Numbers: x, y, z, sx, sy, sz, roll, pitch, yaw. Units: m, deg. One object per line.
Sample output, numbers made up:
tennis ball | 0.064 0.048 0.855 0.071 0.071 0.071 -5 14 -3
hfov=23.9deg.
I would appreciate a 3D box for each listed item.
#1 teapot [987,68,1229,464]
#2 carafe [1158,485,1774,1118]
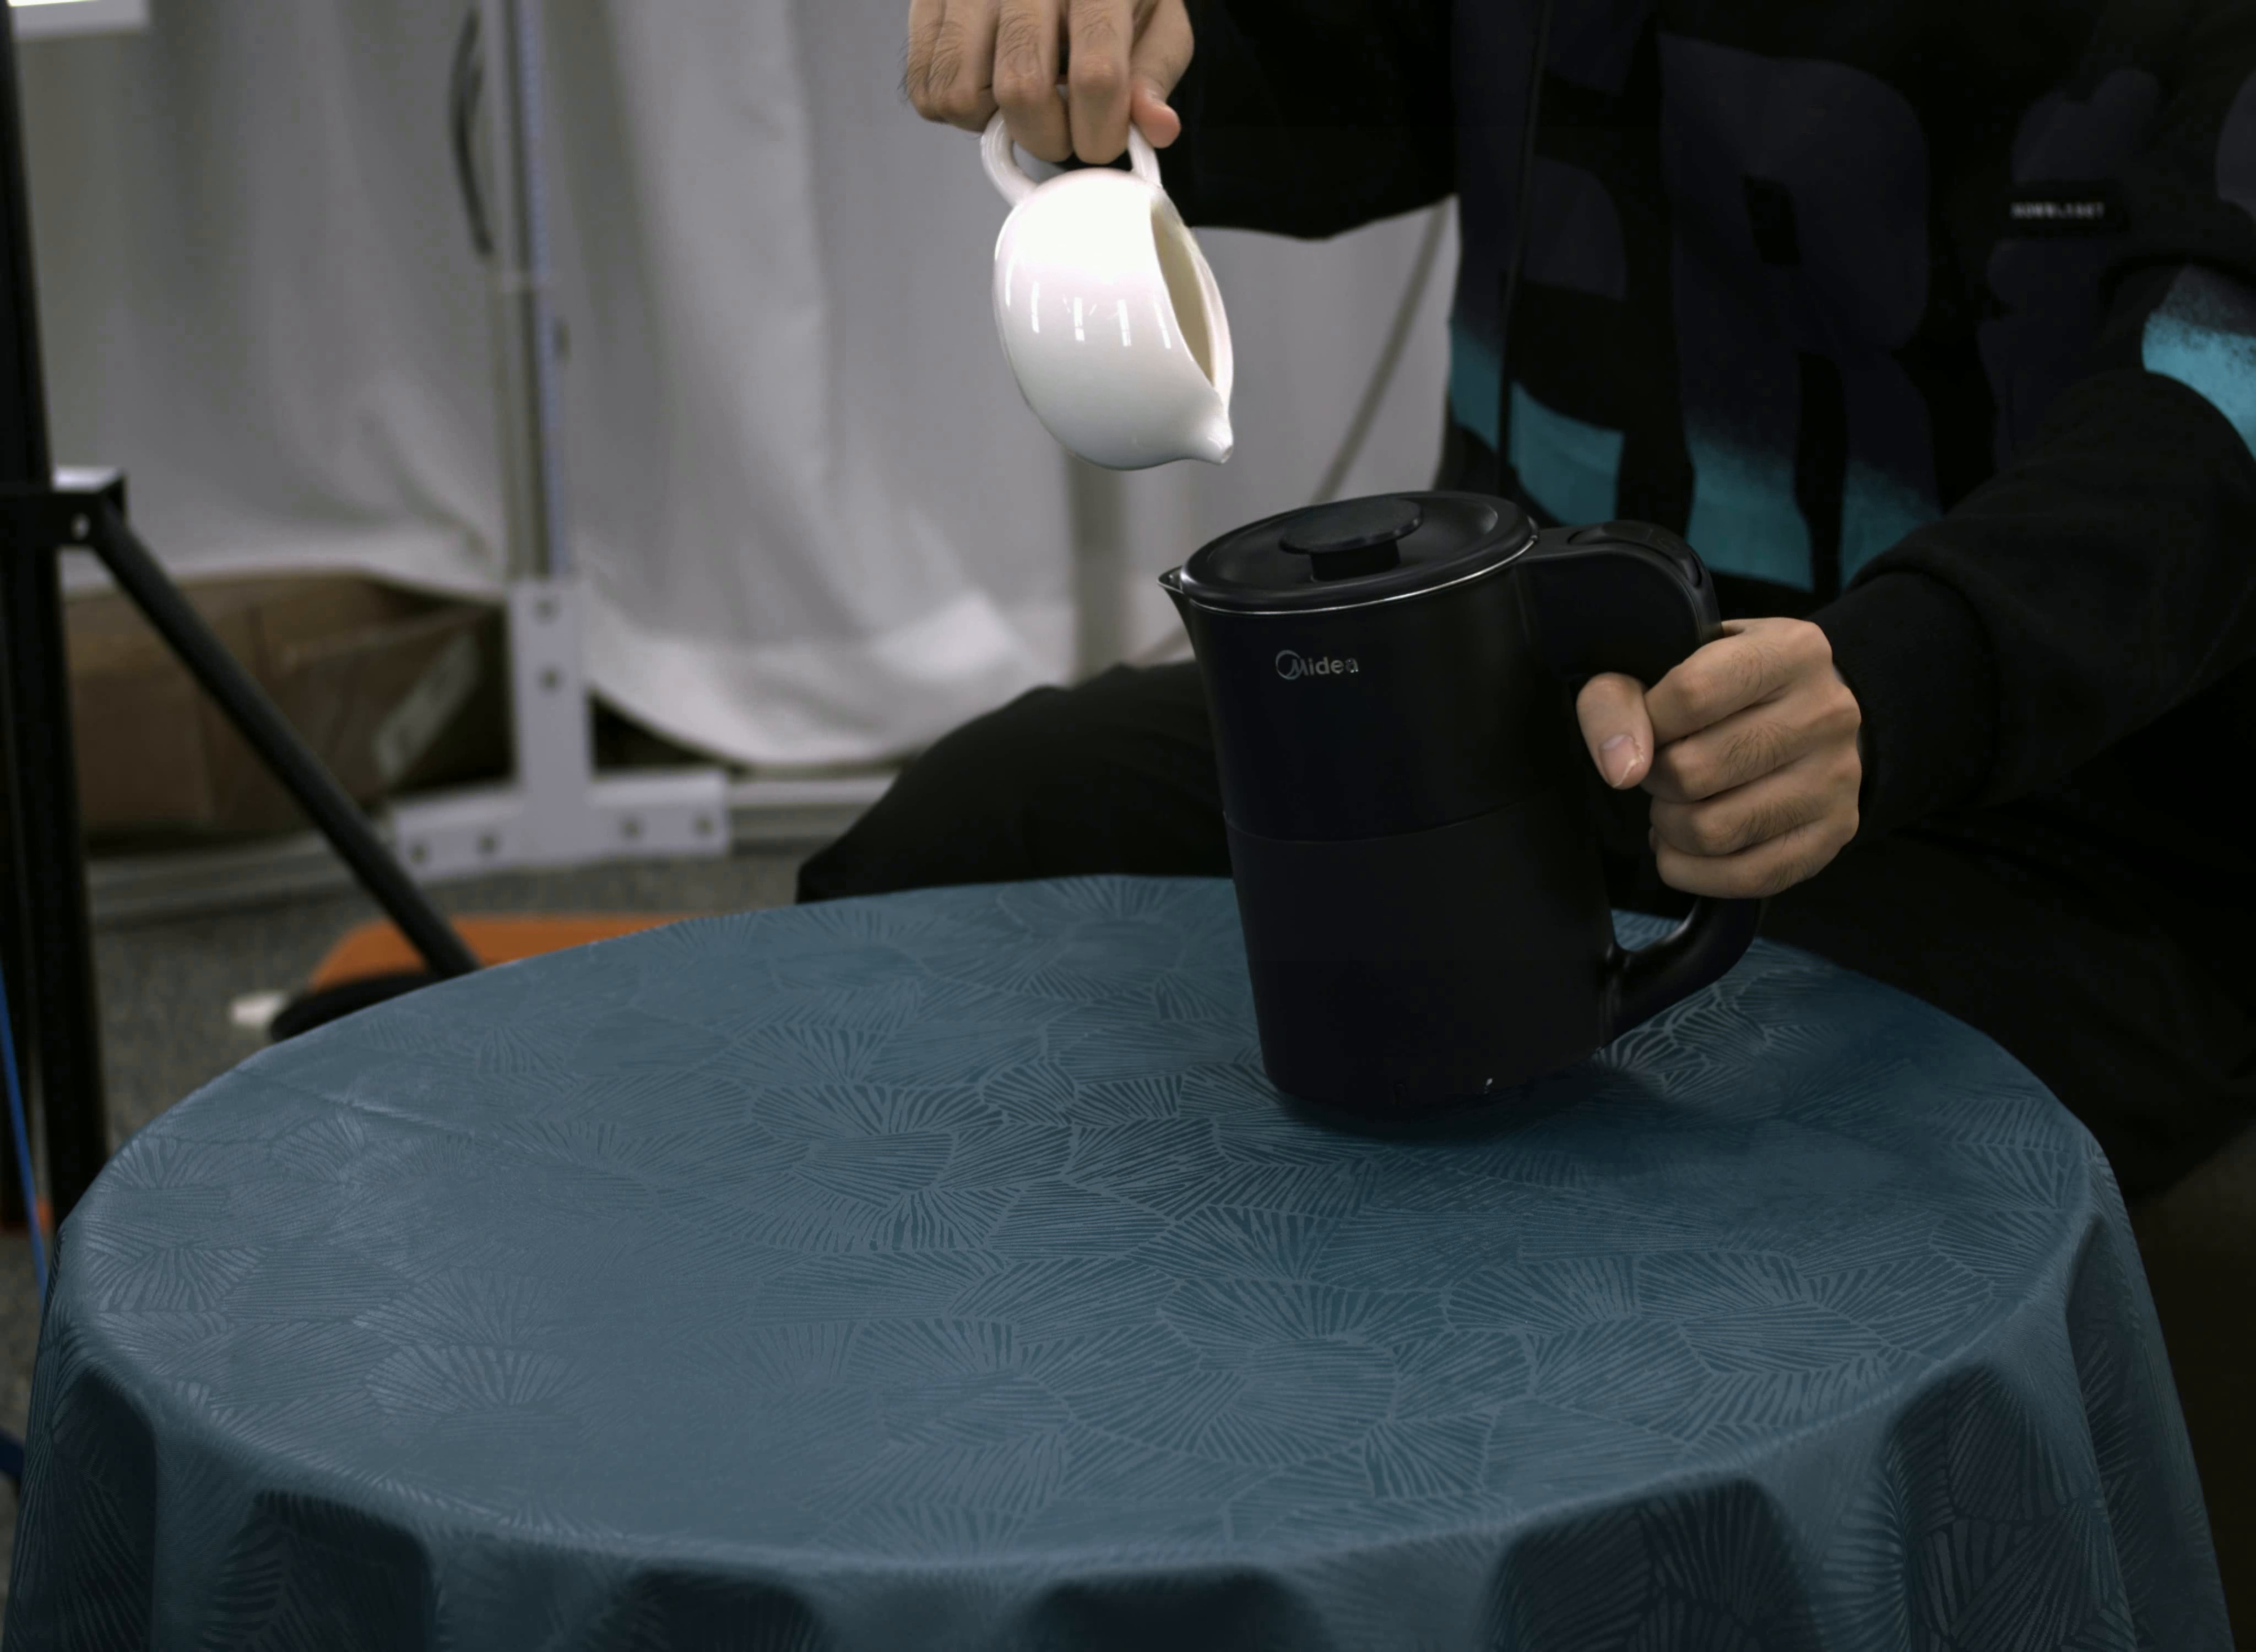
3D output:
teapot | -0.008 -0.166 1.612 0.057 0.128 0.092 -15 2 18
carafe | 0.103 -0.015 1.598 0.173 0.173 0.113 -7 14 20
